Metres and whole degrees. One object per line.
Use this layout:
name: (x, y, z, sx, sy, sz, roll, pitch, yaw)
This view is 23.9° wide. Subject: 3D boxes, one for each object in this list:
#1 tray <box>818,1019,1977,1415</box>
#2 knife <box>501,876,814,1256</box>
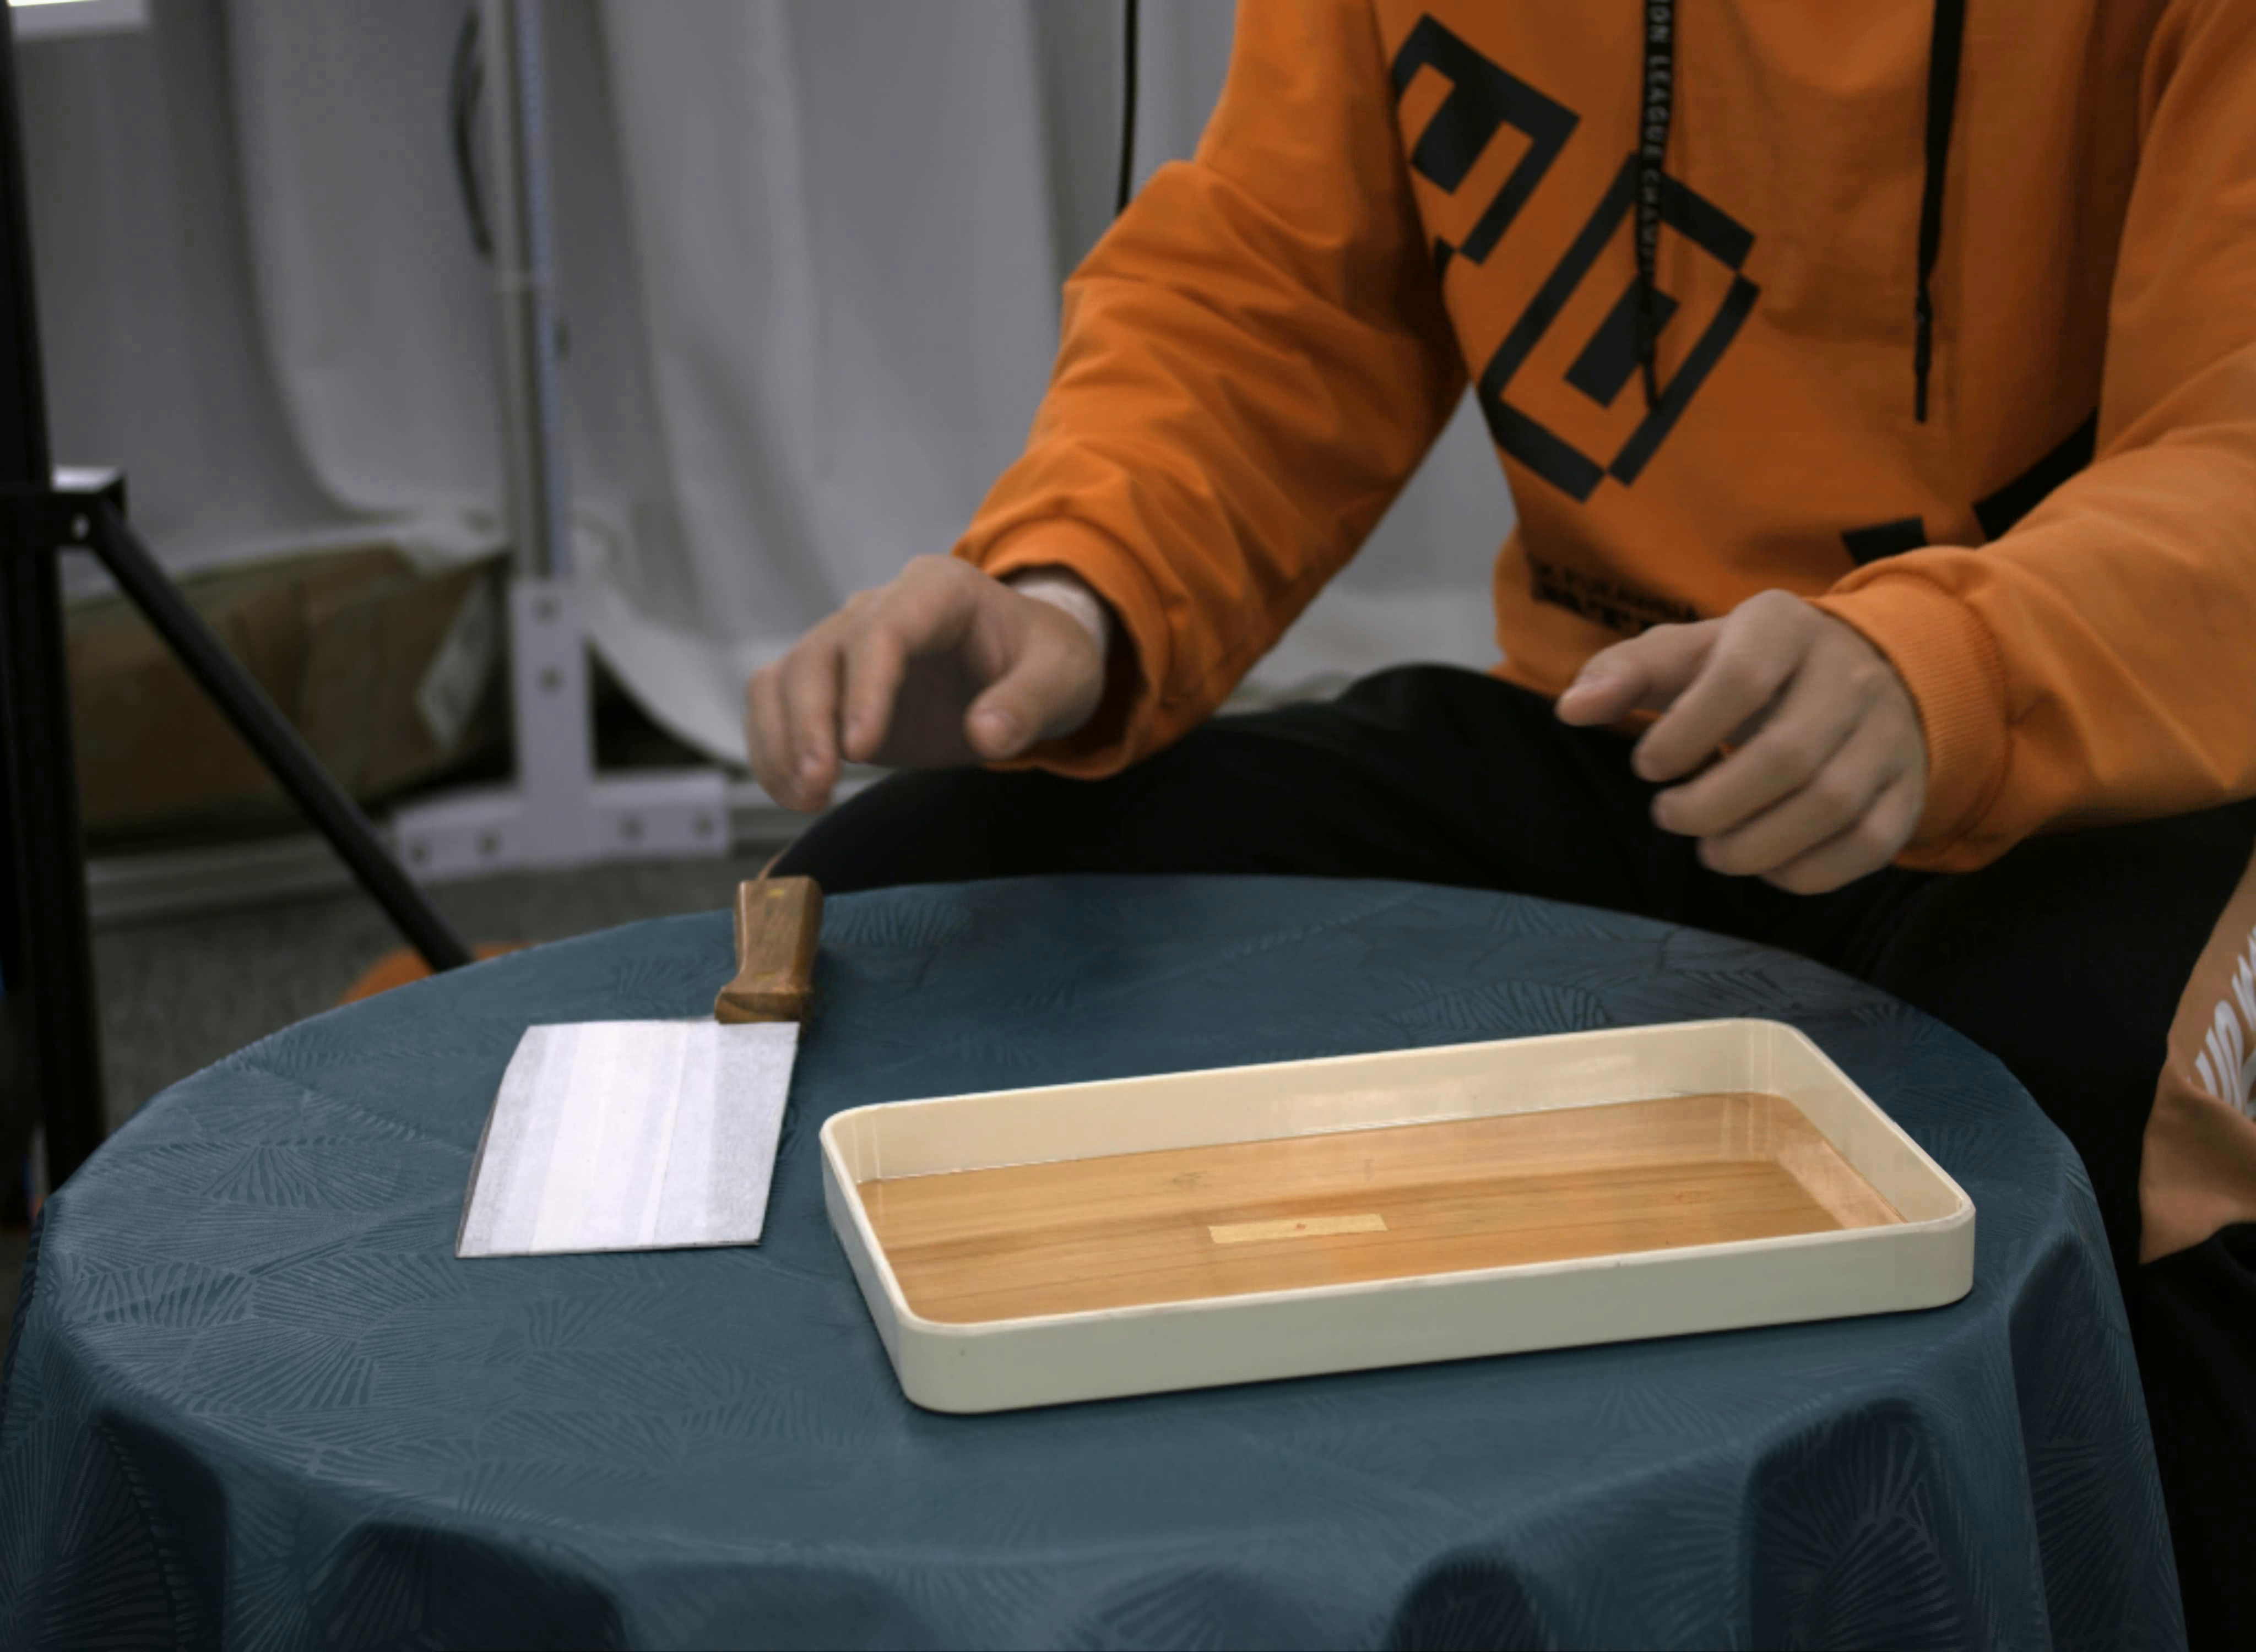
tray: (0.071, 0.108, 1.497, 0.297, 0.027, 0.194, -5, 16, -8)
knife: (-0.147, 0.074, 1.675, 0.092, 0.021, 0.307, -4, 18, 2)
